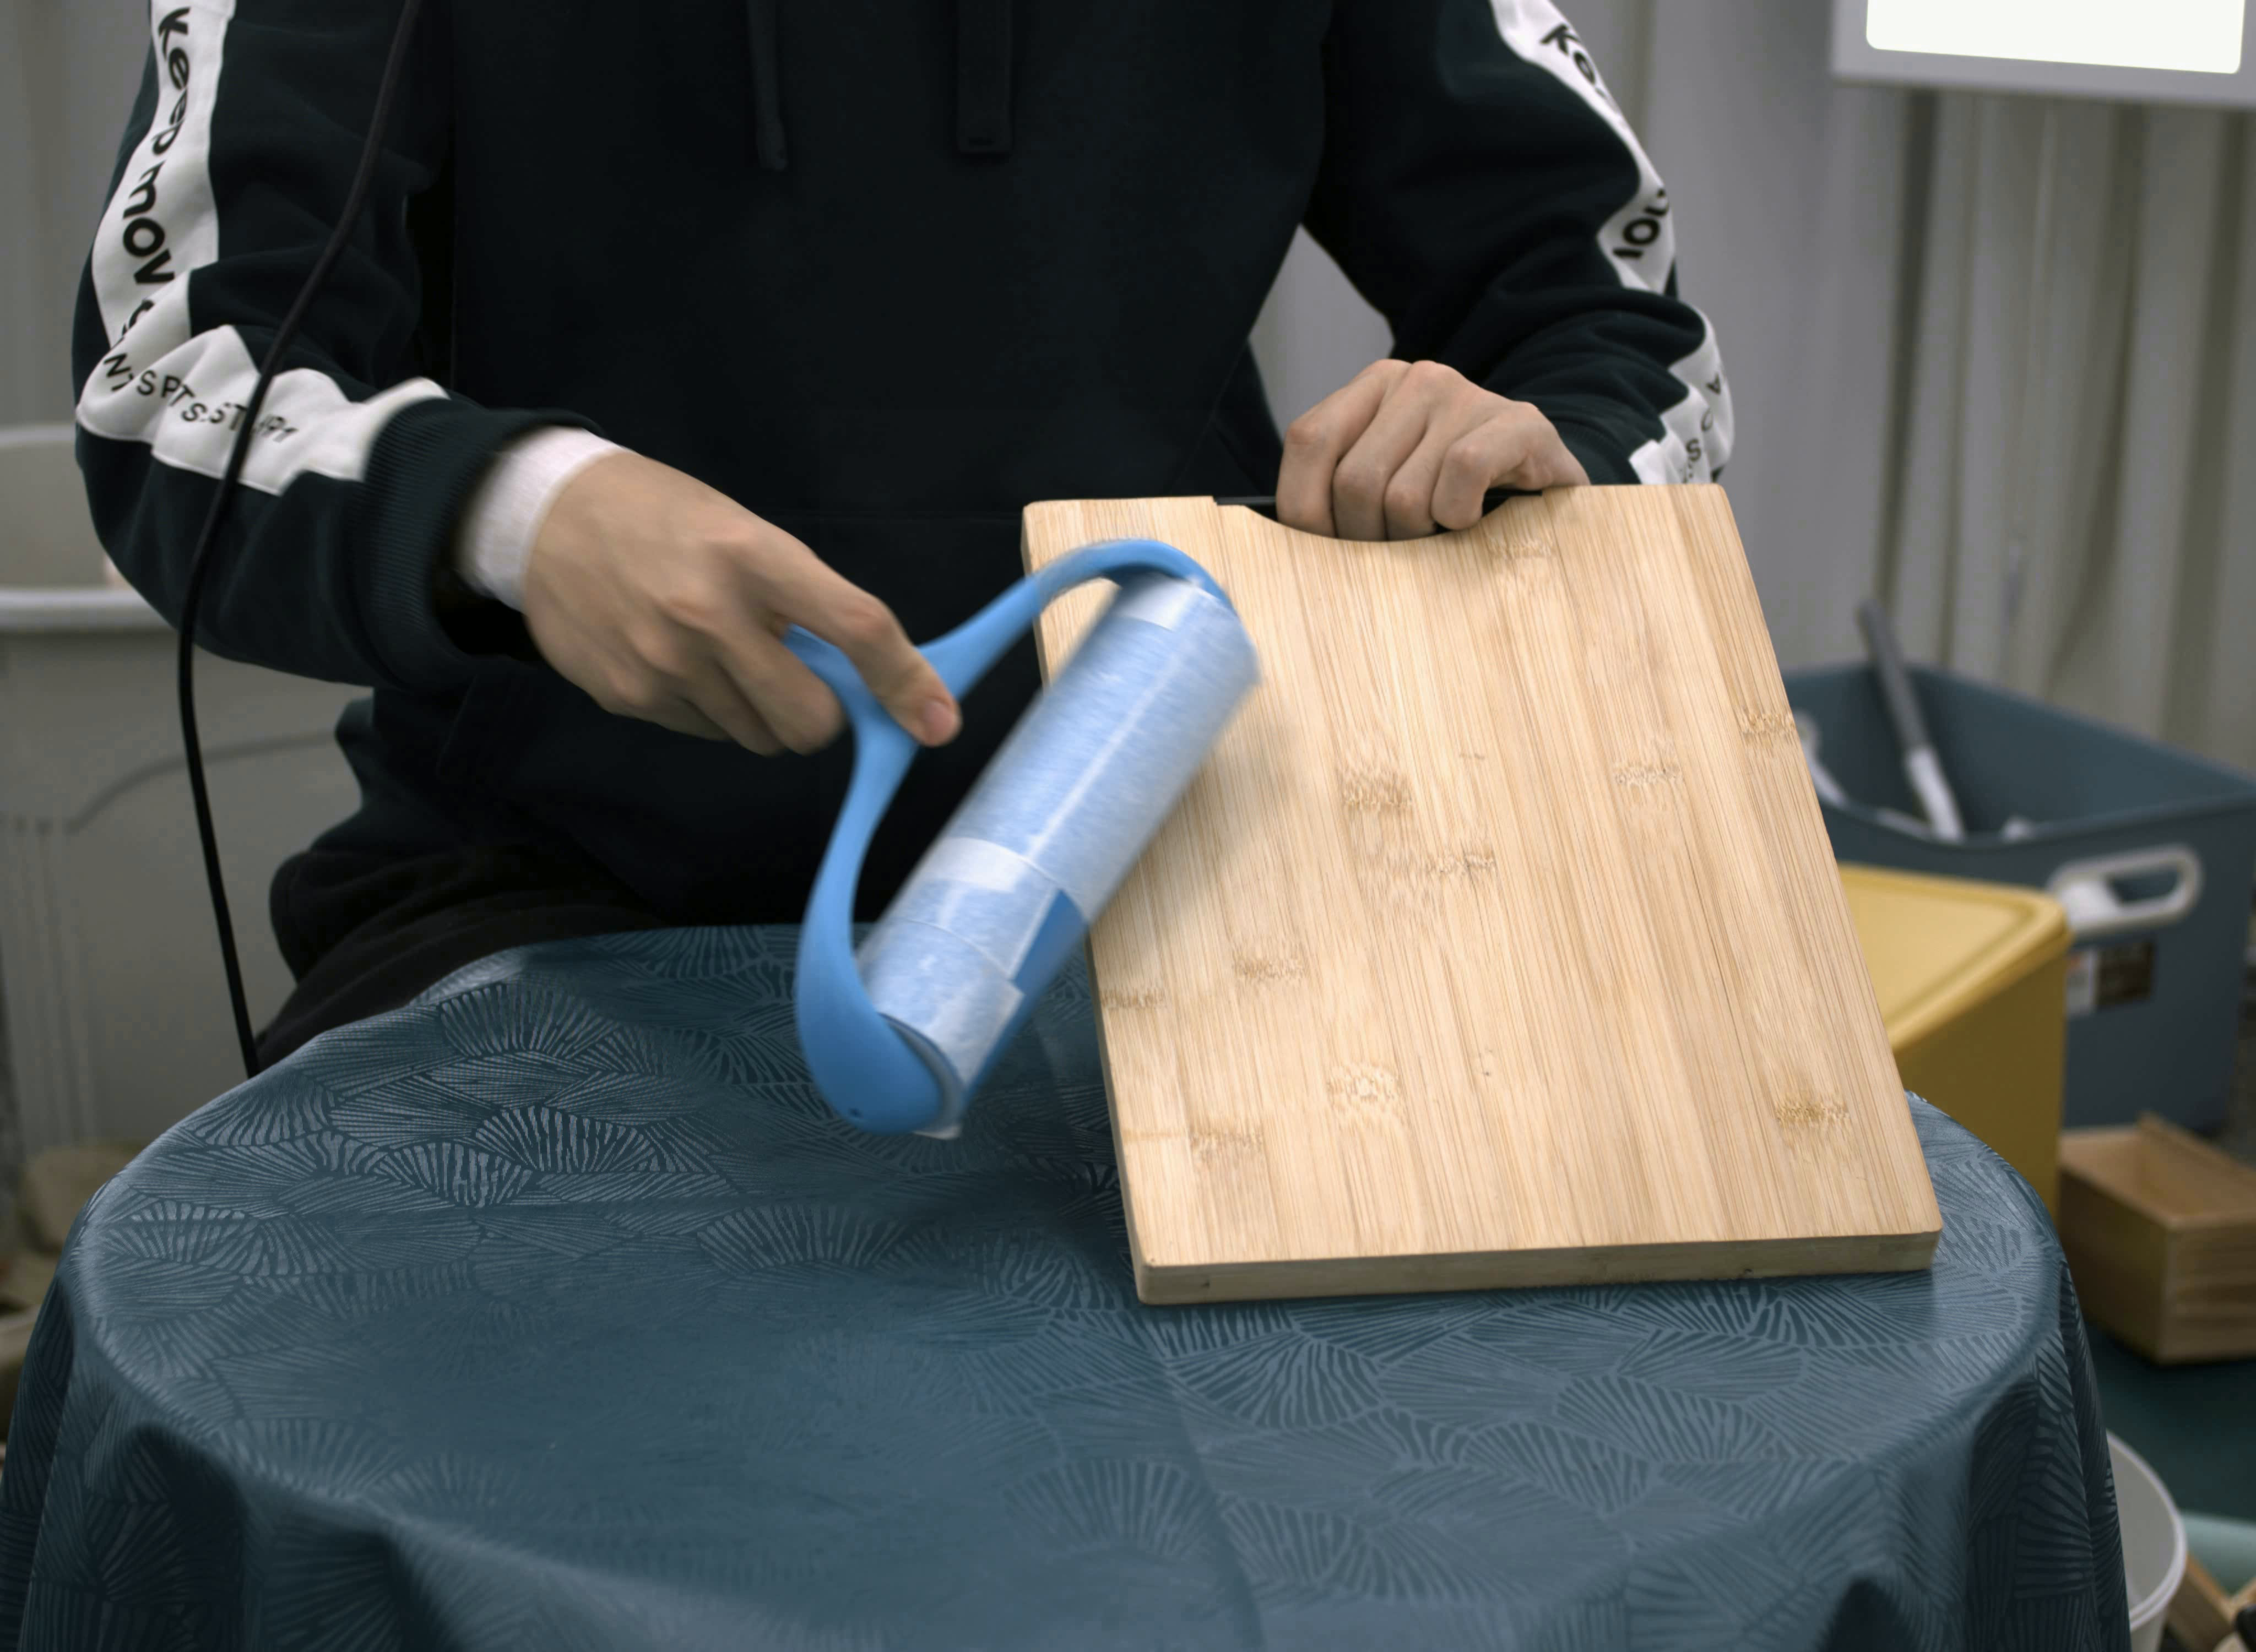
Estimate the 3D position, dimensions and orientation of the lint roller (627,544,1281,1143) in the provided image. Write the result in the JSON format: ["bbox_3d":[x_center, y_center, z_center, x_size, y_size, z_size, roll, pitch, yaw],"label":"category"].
[{"bbox_3d":[-0.071,-0.021,1.598,0.179,0.068,0.228,29,56,4],"label":"lint roller"}]

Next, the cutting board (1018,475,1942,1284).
[{"bbox_3d":[0.101,0.010,1.658,0.250,0.024,0.345,-2,45,-9],"label":"cutting board"}]
